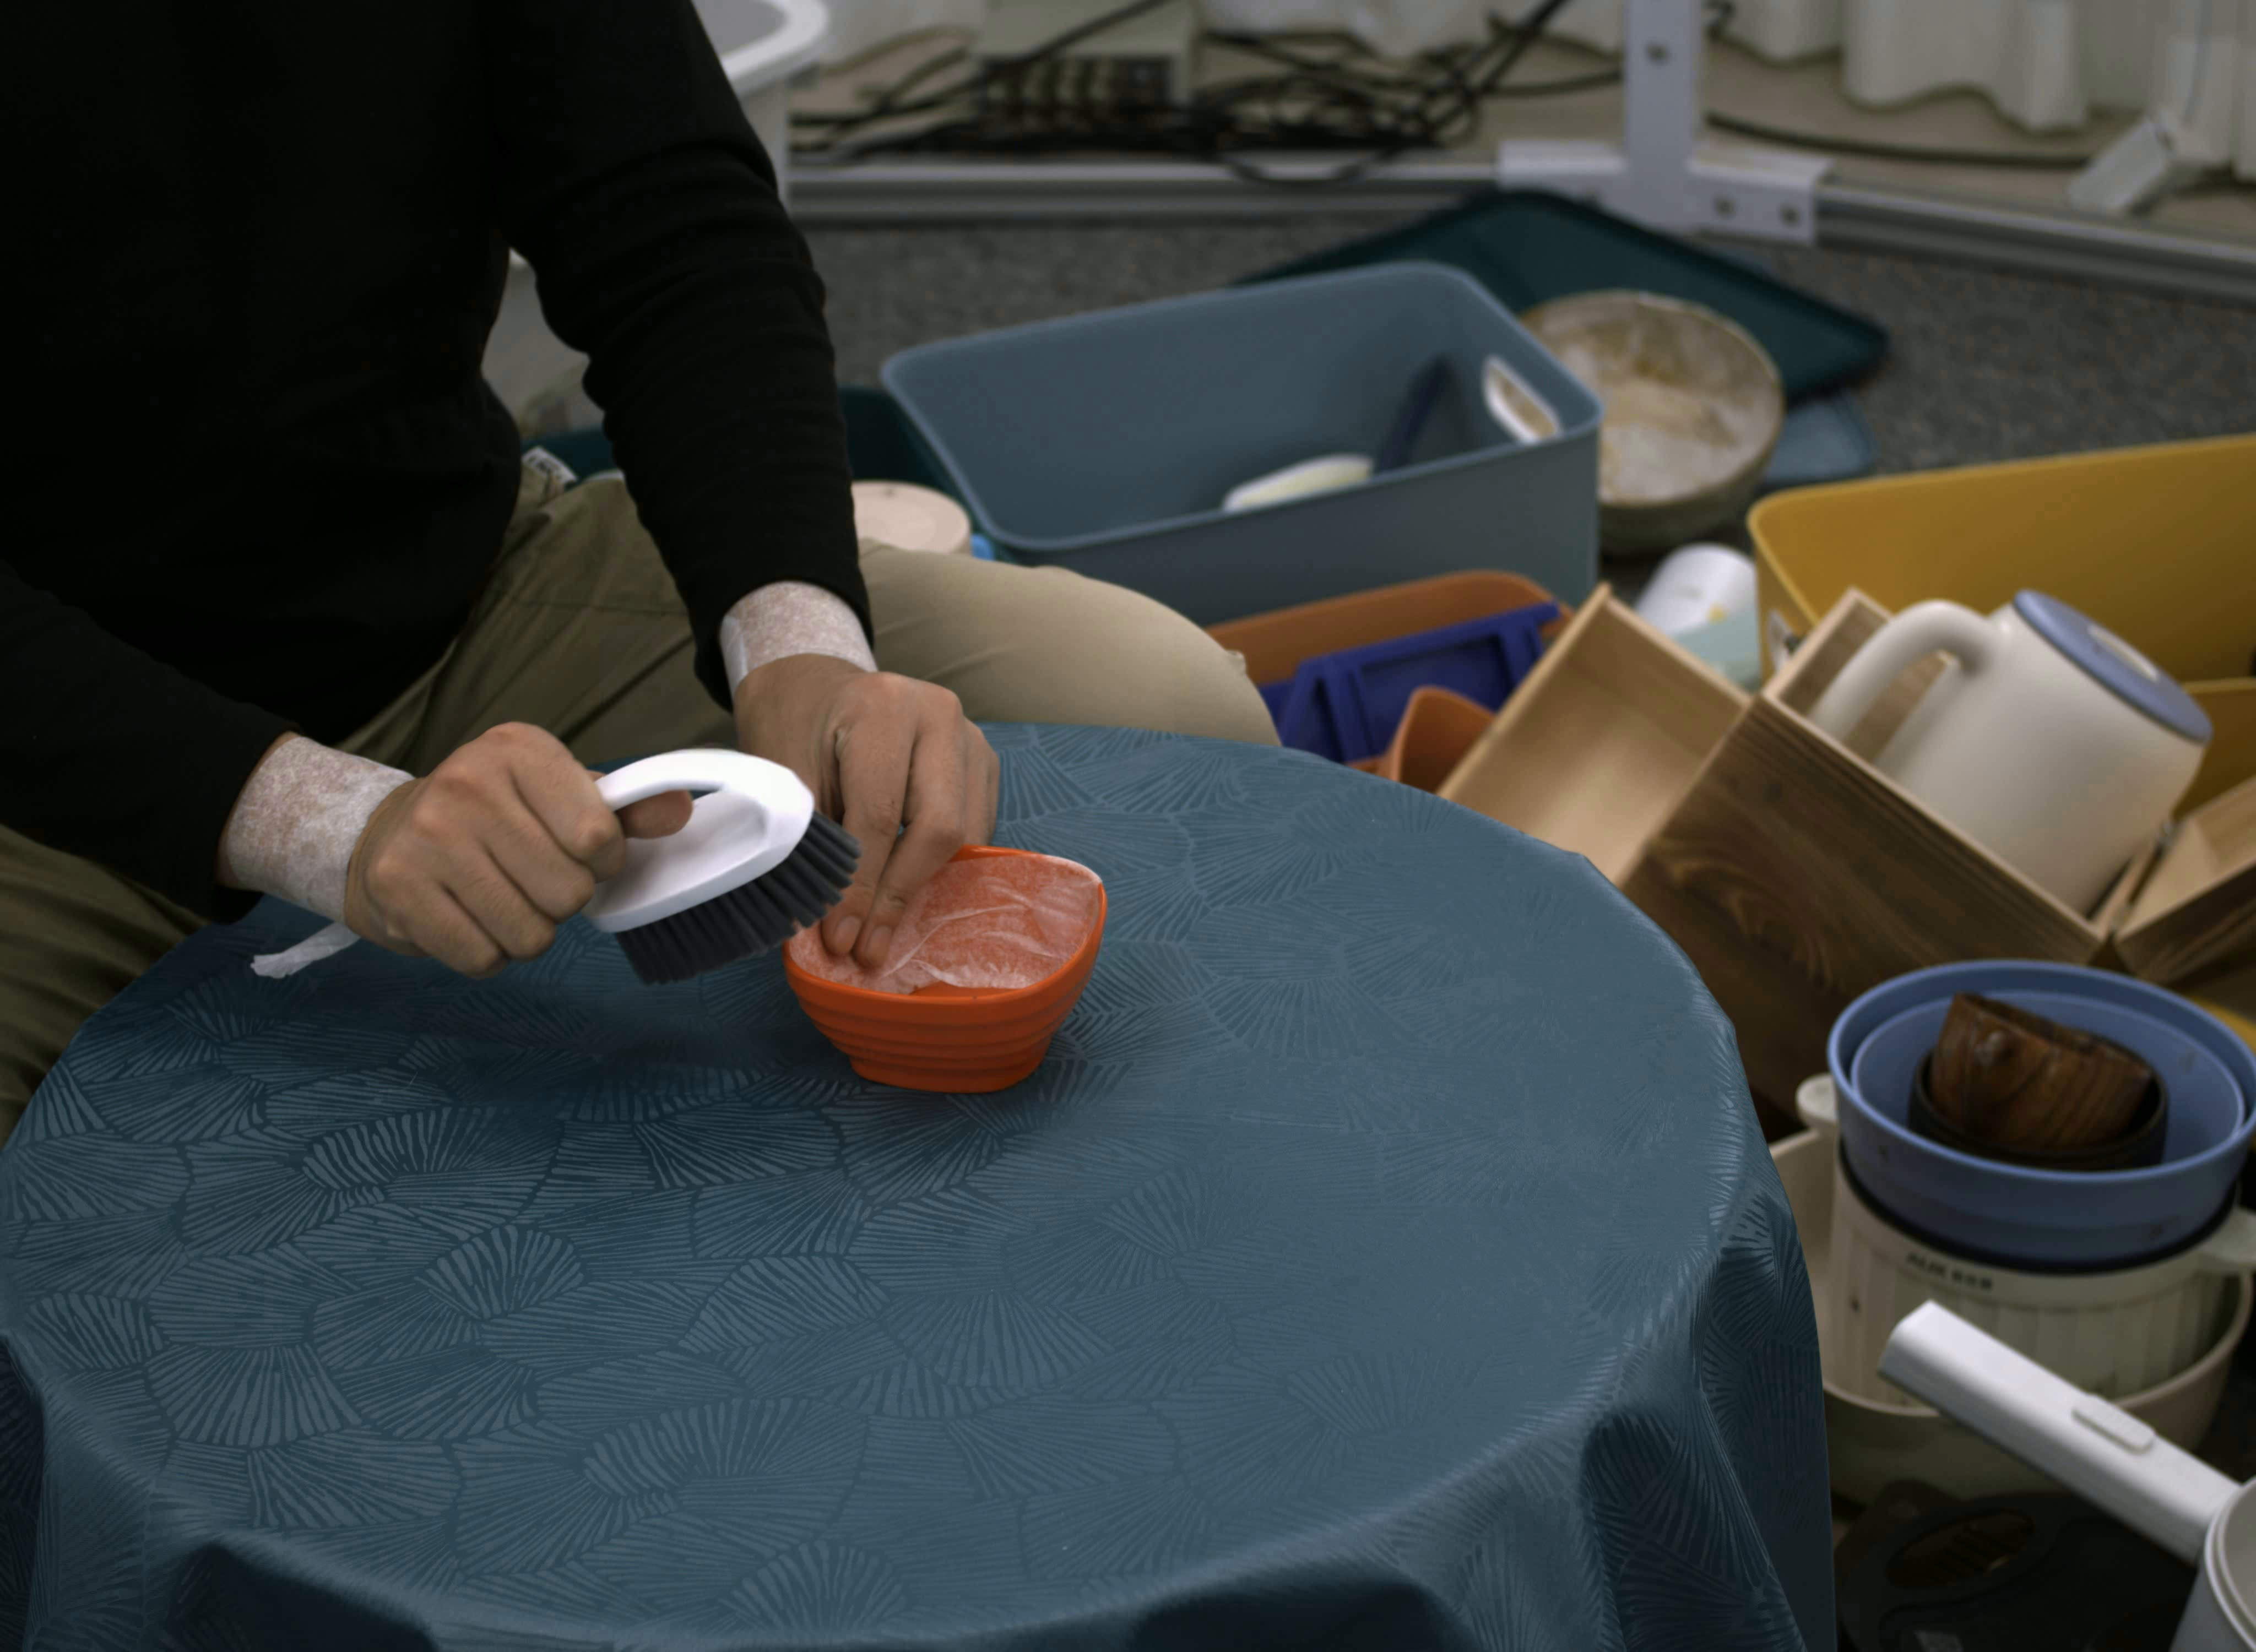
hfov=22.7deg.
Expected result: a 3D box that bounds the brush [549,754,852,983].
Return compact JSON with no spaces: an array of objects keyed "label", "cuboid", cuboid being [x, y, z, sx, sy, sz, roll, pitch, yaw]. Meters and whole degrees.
[{"label":"brush","cuboid":[-0.153,0.008,1.911,0.098,0.072,0.051,-19,38,34]}]

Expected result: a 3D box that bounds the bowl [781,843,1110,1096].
[{"label":"bowl","cuboid":[-0.062,0.054,1.943,0.118,0.051,0.121,-1,28,1]}]
